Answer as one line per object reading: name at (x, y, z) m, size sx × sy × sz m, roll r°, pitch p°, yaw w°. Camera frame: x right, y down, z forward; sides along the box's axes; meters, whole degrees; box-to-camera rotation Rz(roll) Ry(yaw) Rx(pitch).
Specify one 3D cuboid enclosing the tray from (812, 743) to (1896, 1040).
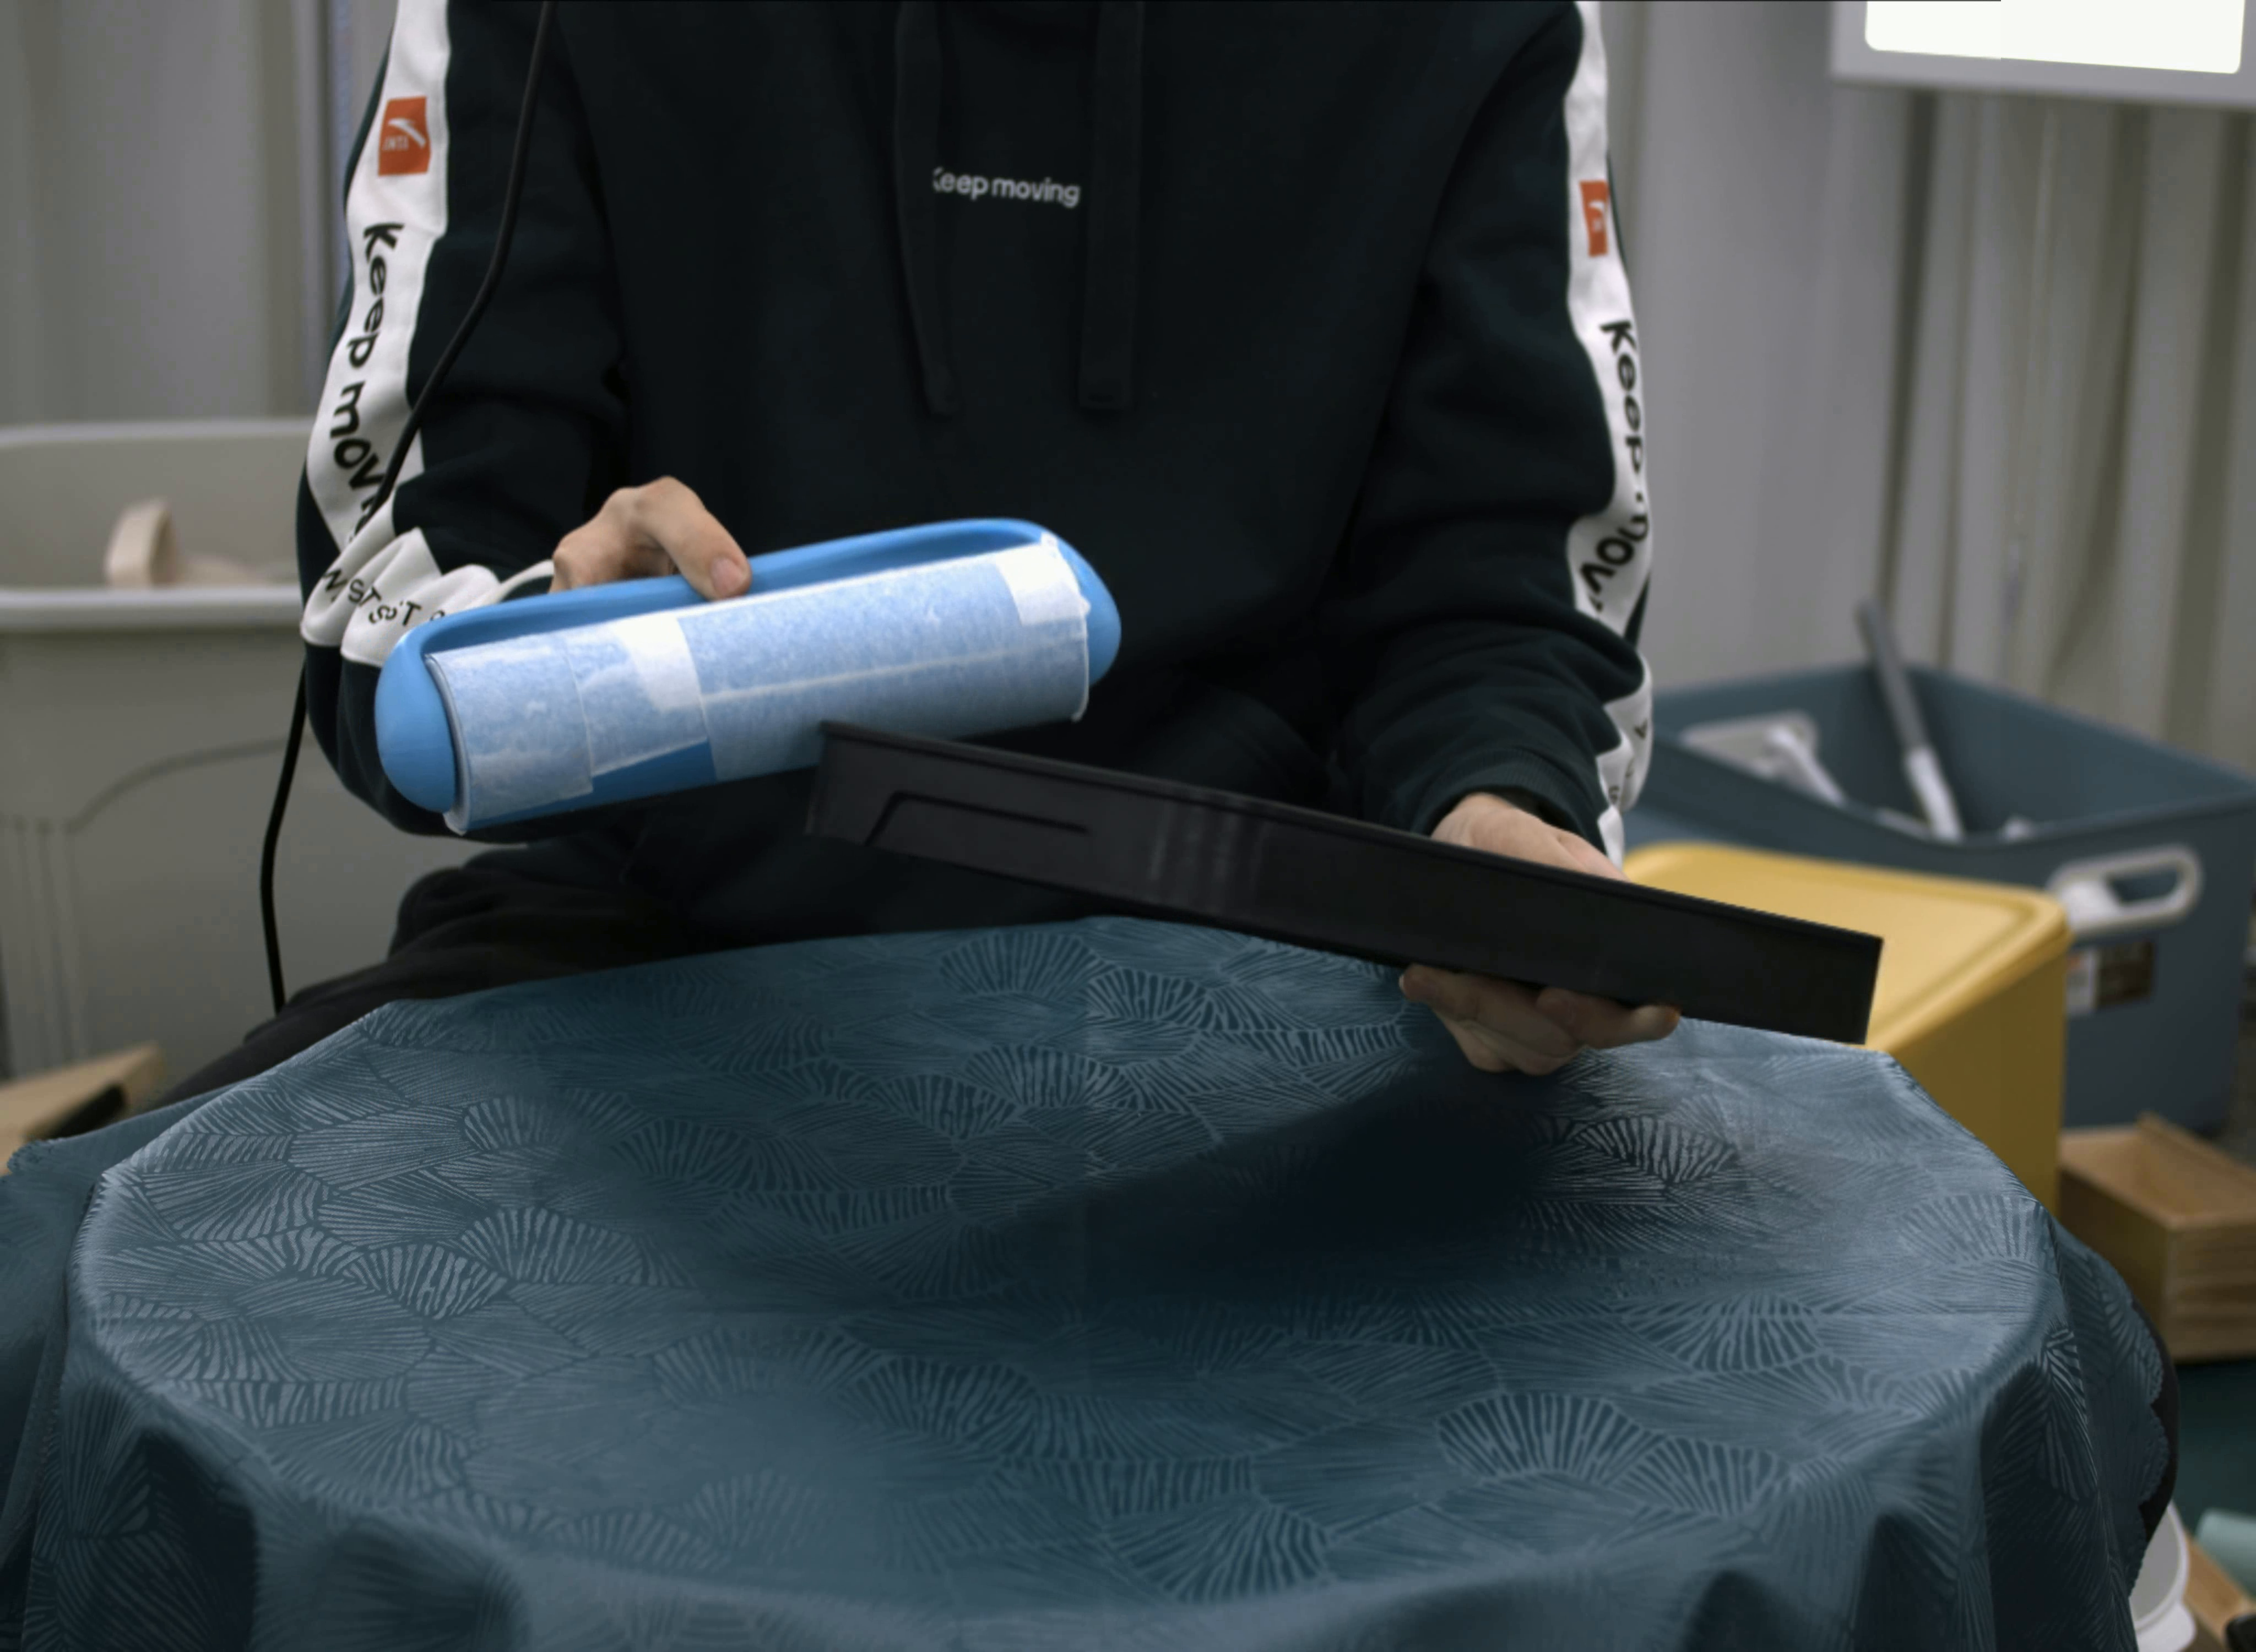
tray at (0.071, 0.022, 1.580) m, size 0.182 × 0.037 × 0.321 m, roll 8°, pitch -2°, yaw 44°

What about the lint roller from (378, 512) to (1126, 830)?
lint roller at (-0.130, -0.049, 1.610) m, size 0.229 × 0.068 × 0.179 m, roll -14°, pitch 9°, yaw -21°
